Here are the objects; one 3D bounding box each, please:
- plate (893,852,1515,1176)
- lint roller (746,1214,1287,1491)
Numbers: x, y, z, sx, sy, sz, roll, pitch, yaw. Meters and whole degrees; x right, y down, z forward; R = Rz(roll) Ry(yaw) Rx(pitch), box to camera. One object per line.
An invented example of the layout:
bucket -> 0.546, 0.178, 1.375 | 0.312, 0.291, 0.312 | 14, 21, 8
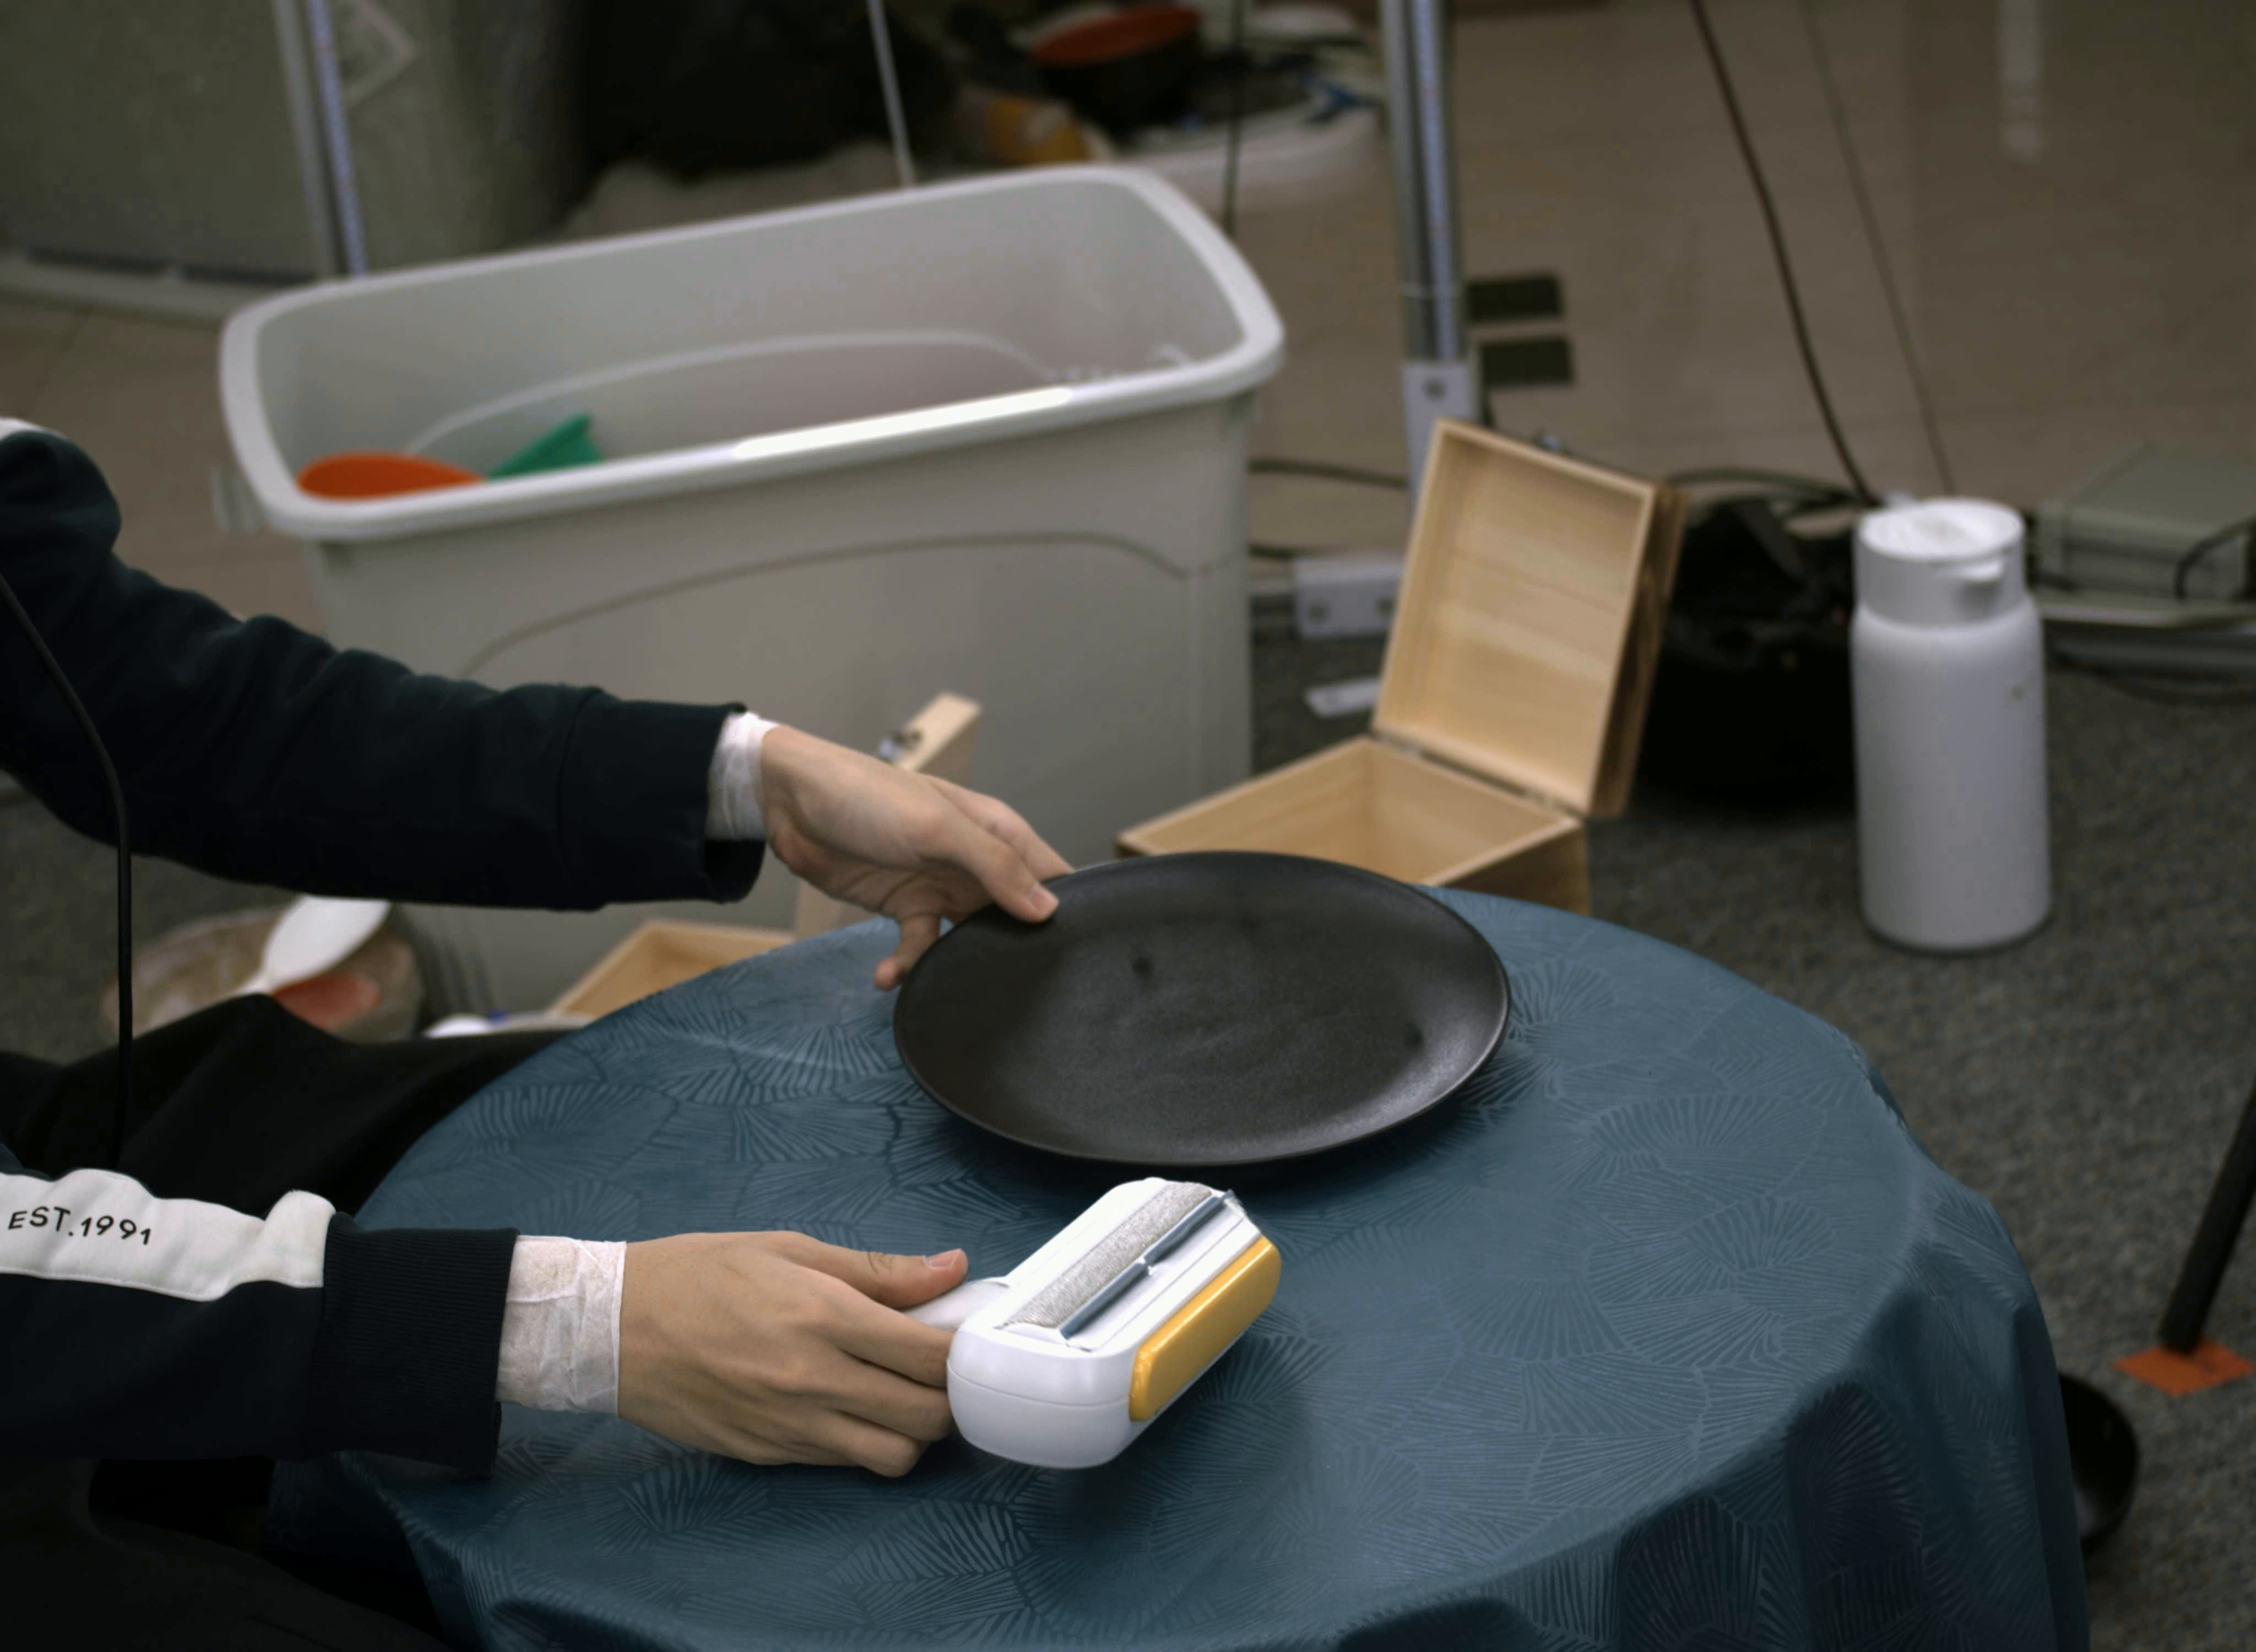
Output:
plate -> 0.030, 0.078, 2.221 | 0.244, 0.024, 0.240 | -3, 29, 2
lint roller -> -0.056, 0.194, 2.000 | 0.192, 0.075, 0.191 | -9, 13, 29
